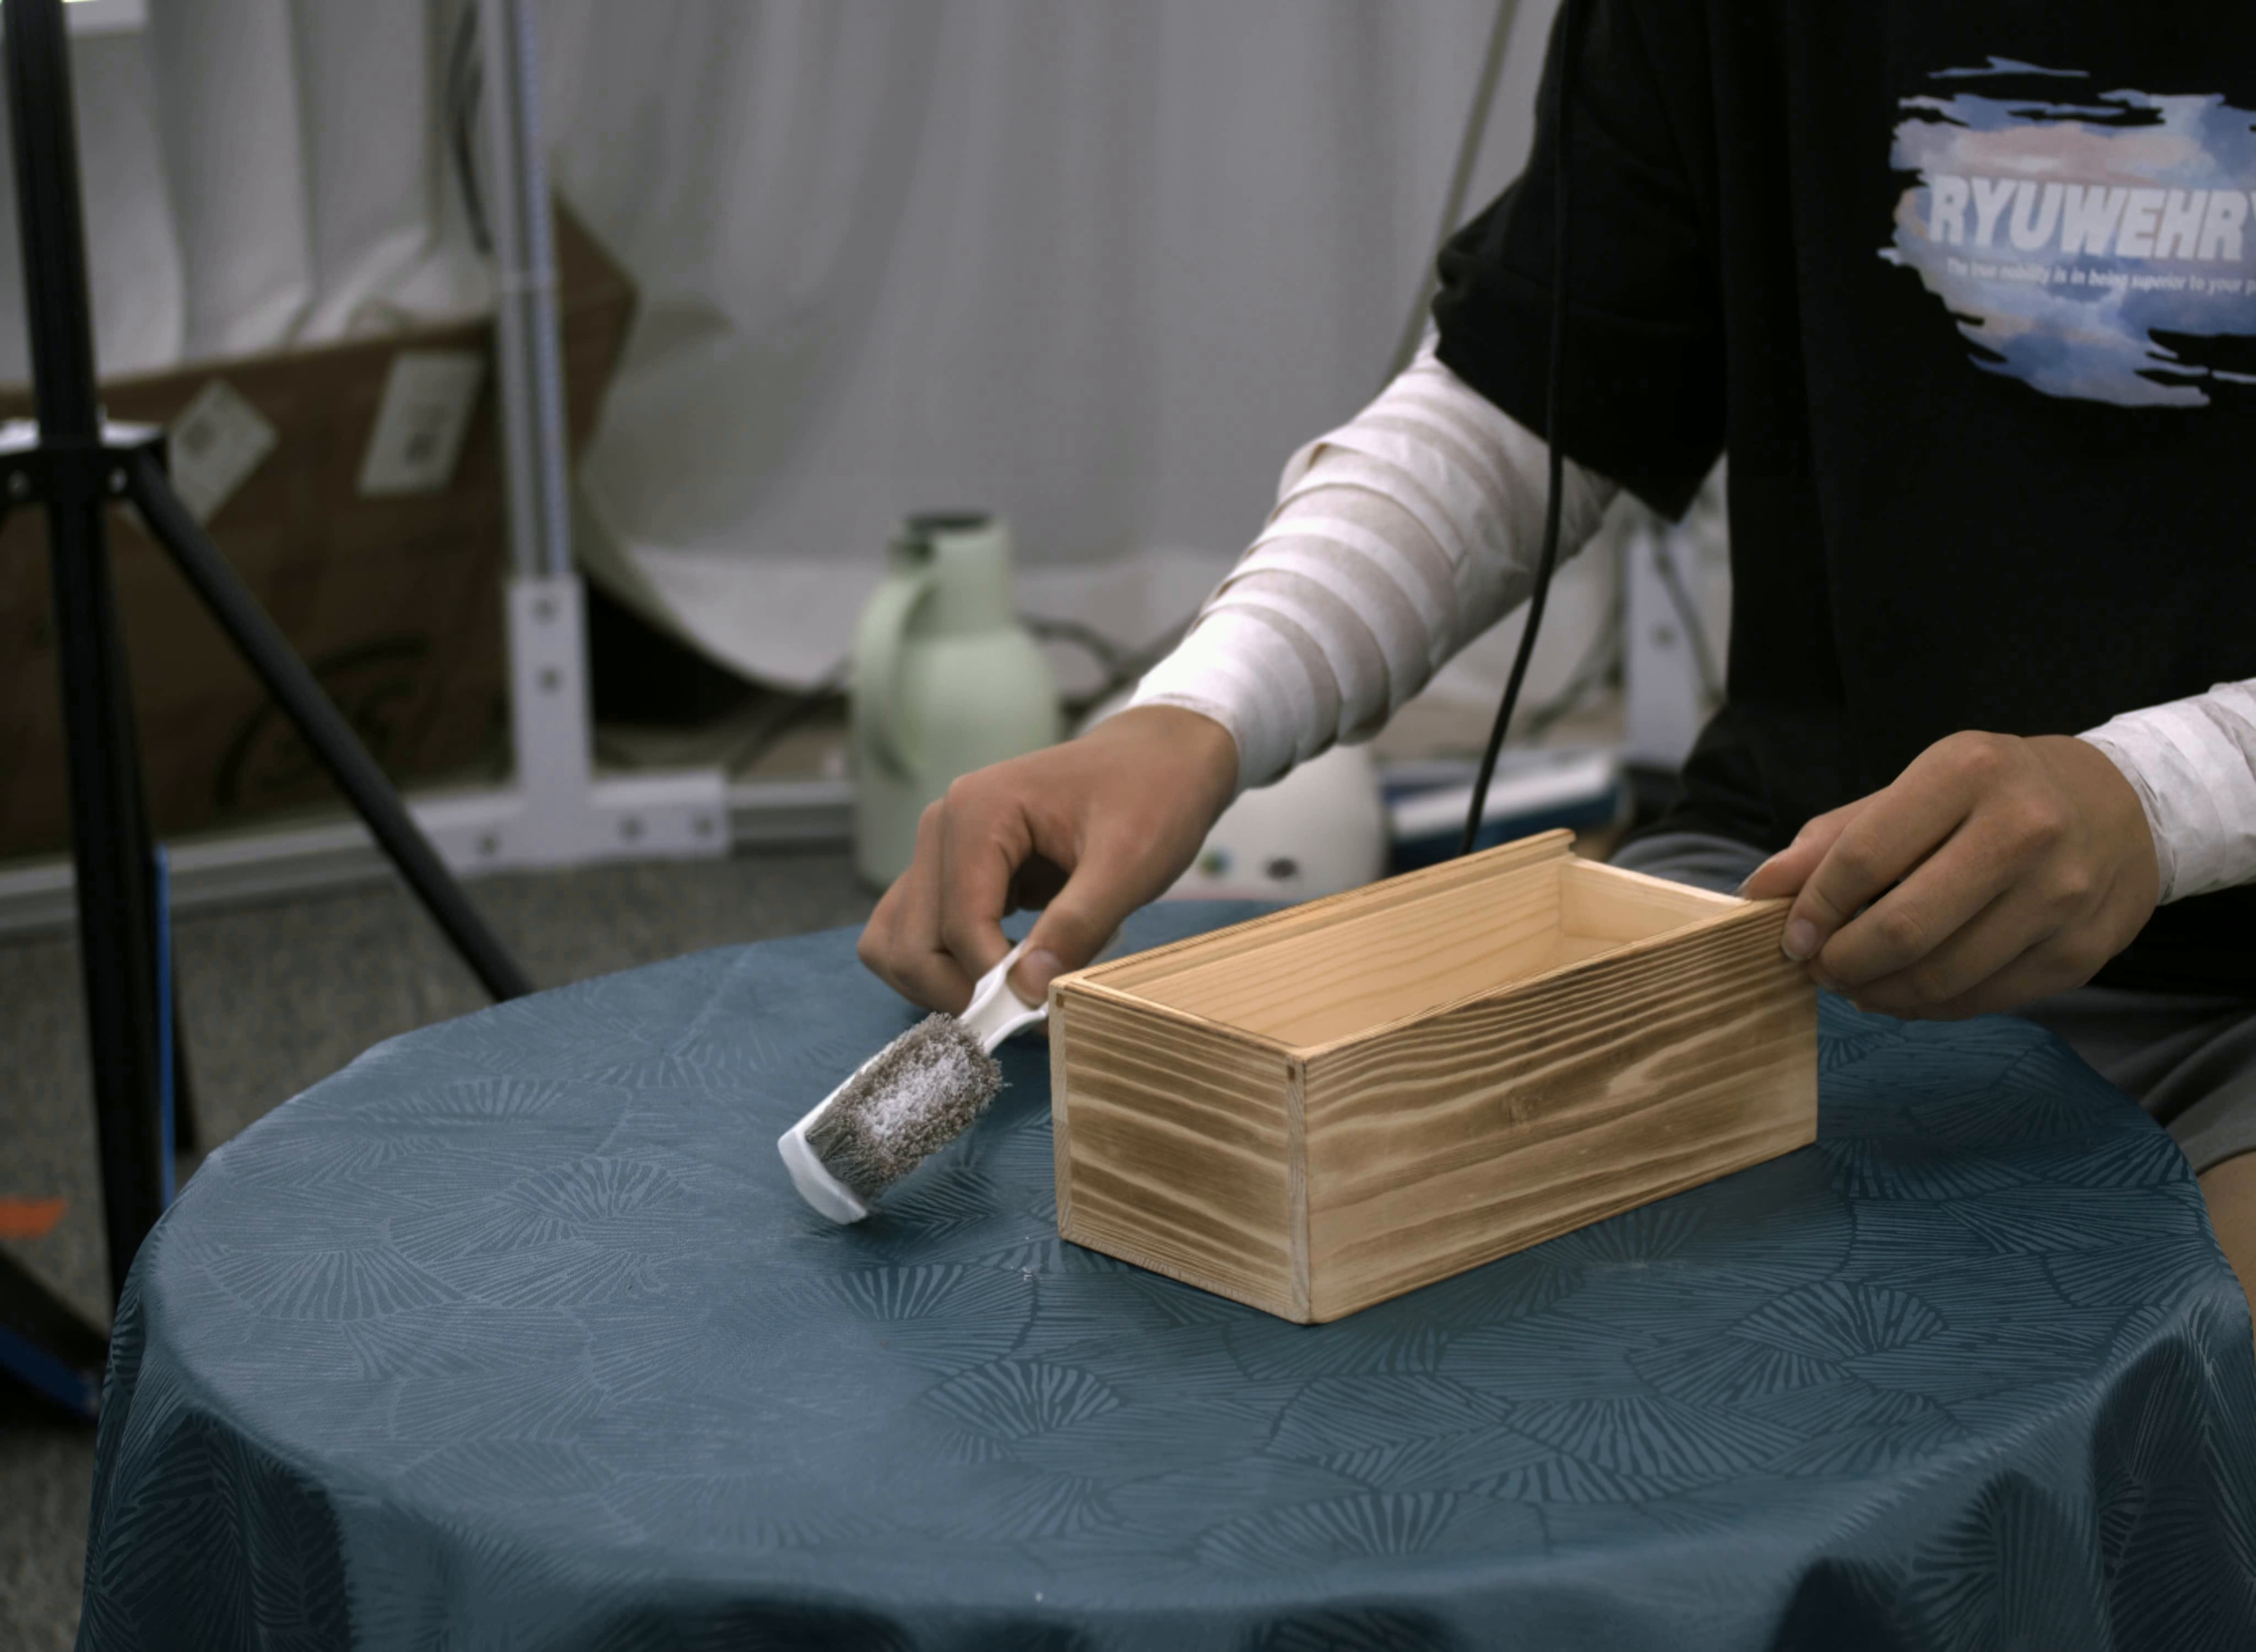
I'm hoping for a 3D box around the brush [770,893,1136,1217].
[{"bbox_3d":[-0.037,0.058,1.625,0.051,0.034,0.240,-35,1,31],"label":"brush"}]

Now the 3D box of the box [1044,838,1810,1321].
[{"bbox_3d":[0.089,0.070,1.537,0.206,0.080,0.110,-14,19,-40],"label":"box"}]
